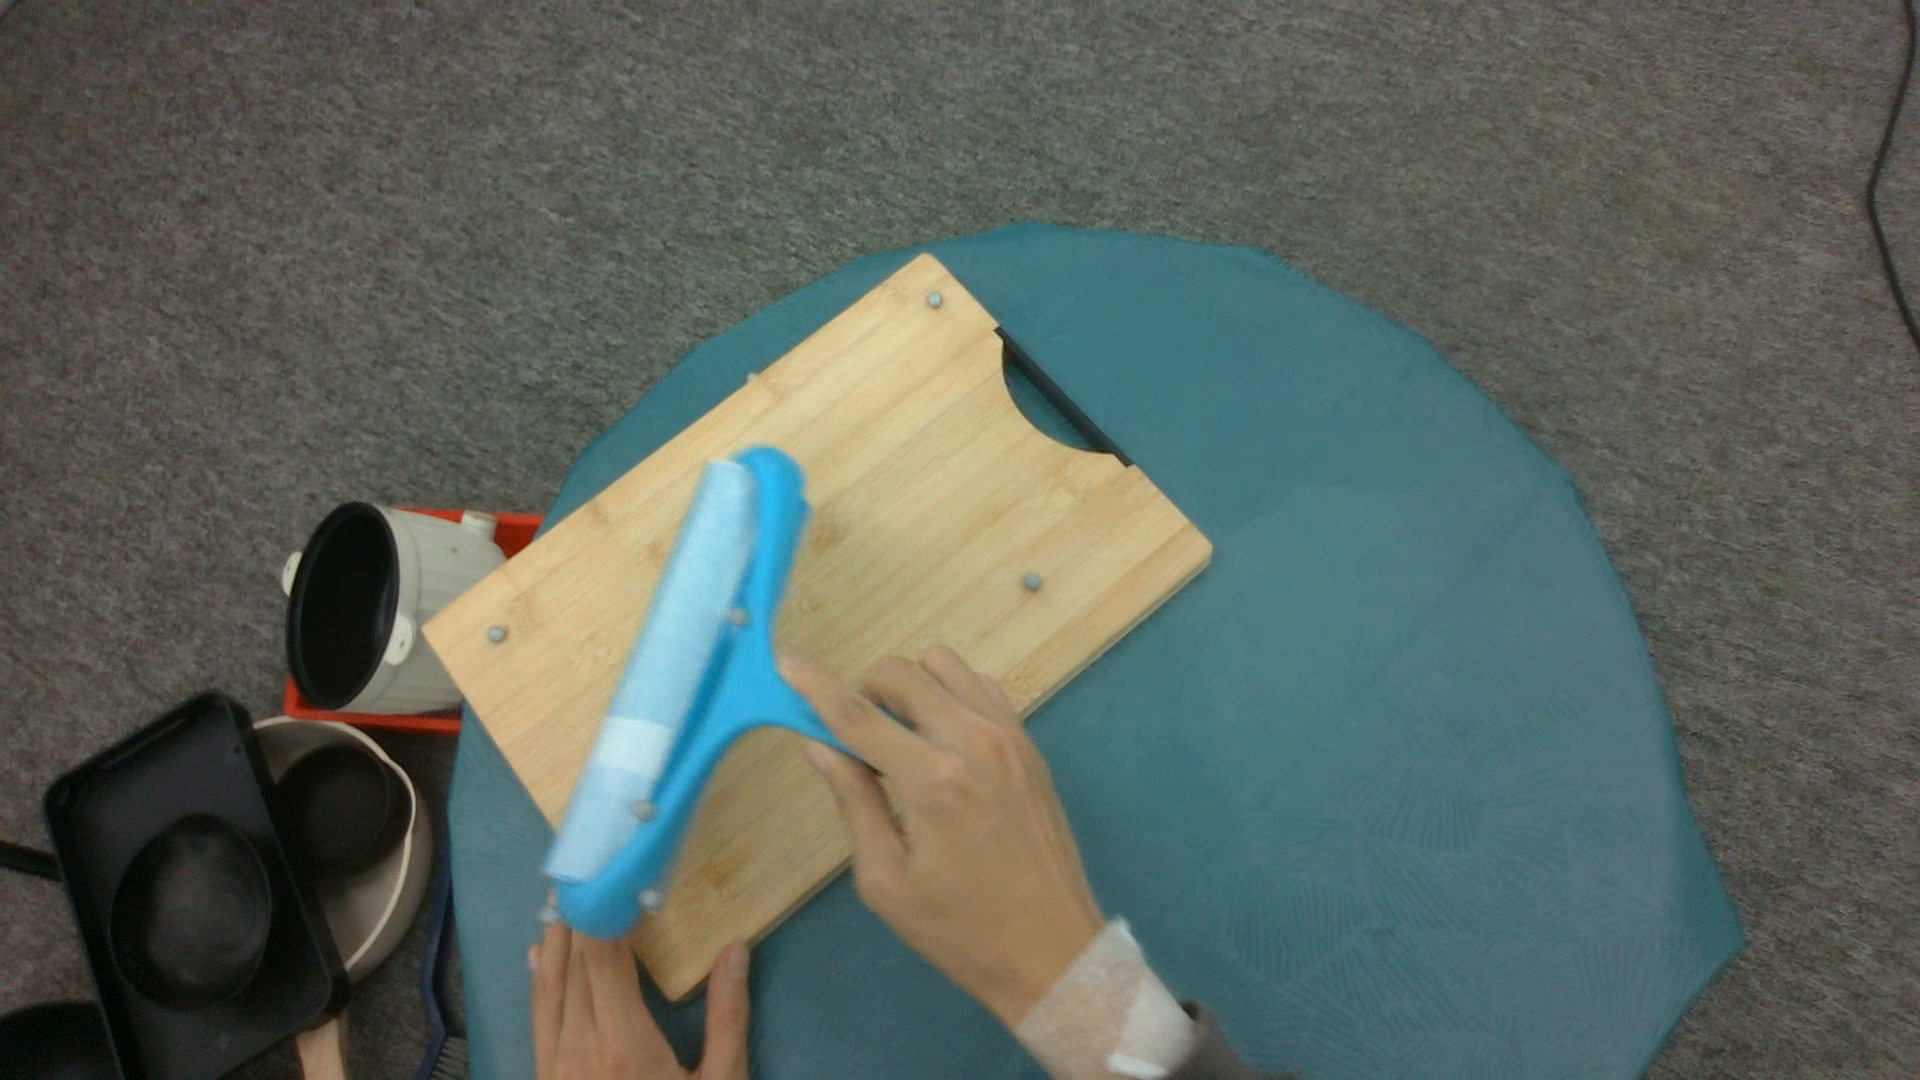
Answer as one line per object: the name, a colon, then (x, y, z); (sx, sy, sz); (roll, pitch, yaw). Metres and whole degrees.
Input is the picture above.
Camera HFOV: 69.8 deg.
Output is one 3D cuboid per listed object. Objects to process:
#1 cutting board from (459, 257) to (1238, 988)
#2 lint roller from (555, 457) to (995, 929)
cutting board: (-0.066, 0.027, 0.730); (0.349, 0.023, 0.251); (-39, 69, -9)
lint roller: (-0.073, 0.073, 0.603); (0.180, 0.068, 0.229); (8, 69, 32)
